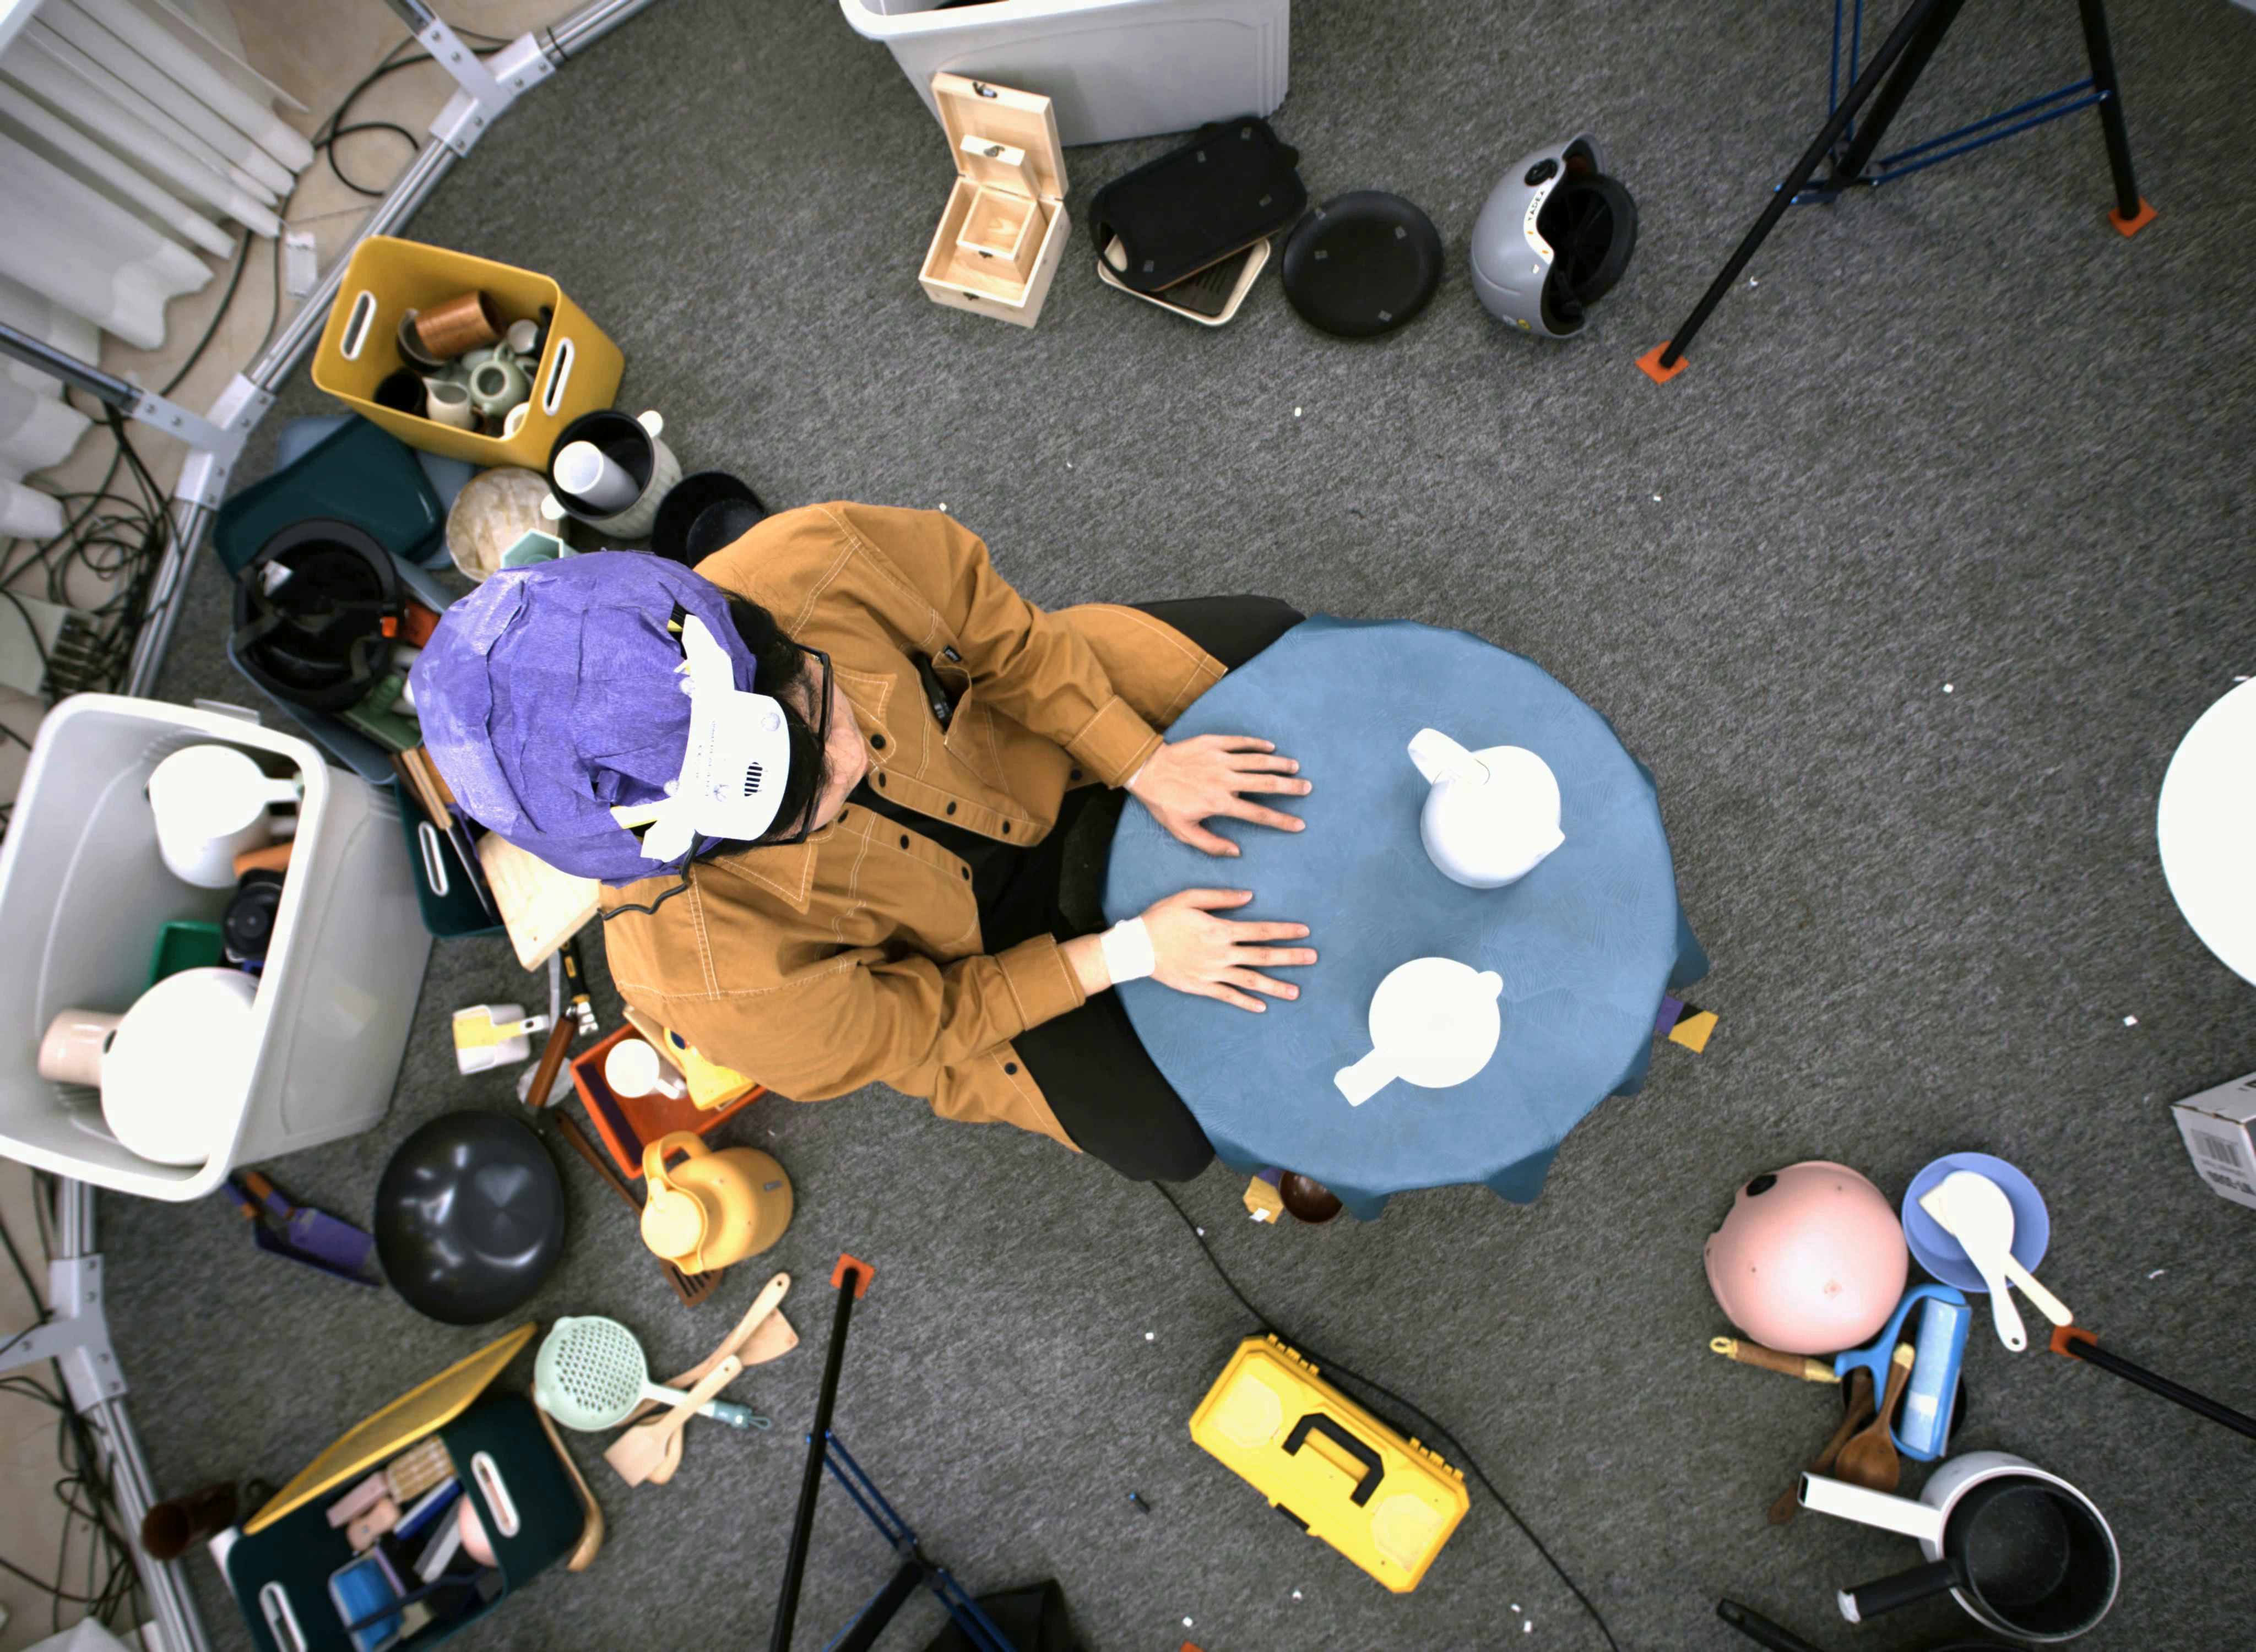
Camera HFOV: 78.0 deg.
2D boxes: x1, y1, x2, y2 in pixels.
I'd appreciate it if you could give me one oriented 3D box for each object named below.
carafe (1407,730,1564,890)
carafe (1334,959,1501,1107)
[{"bbox_3d":[0.338,-0.026,1.327,0.167,0.249,0.133,41,93,12],"label":"carafe"},{"bbox_3d":[0.276,0.197,1.319,0.173,0.269,0.123,-39,81,5],"label":"carafe"}]
